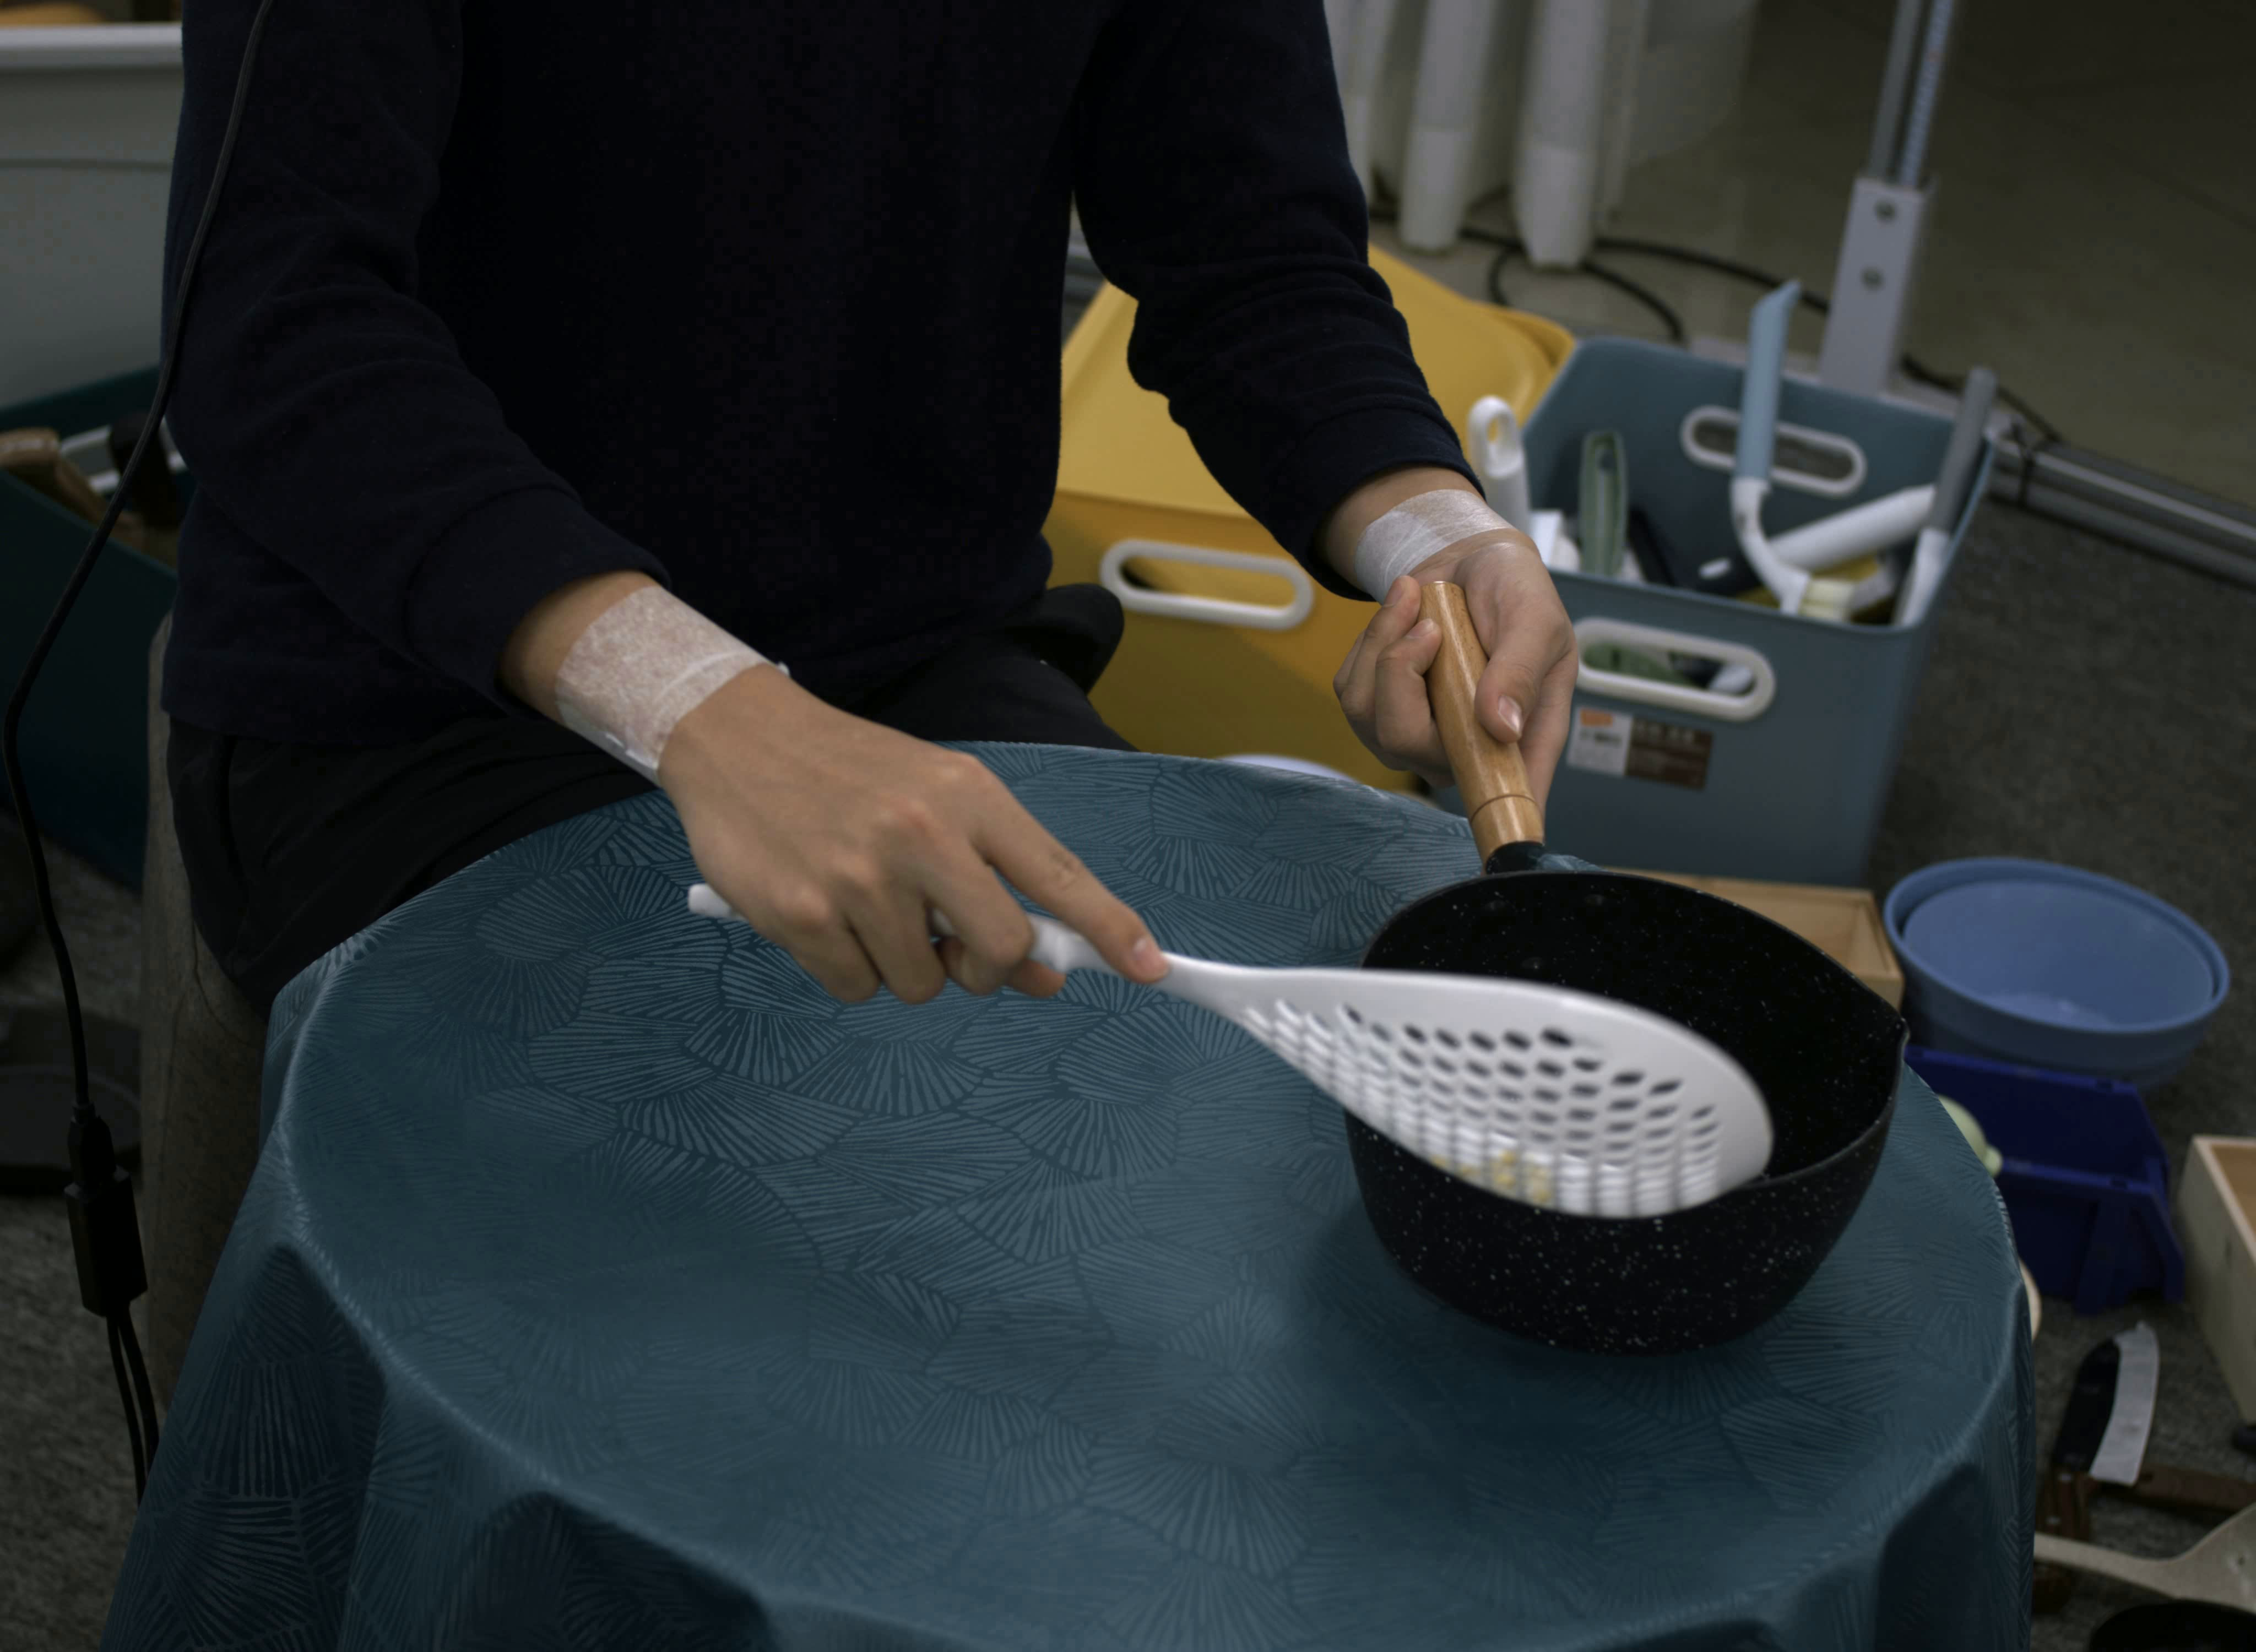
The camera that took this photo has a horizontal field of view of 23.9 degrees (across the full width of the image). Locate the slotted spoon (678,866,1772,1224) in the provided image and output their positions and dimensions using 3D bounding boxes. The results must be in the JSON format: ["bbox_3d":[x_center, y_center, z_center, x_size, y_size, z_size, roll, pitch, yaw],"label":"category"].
[{"bbox_3d":[0.028,0.058,1.645,0.348,0.136,0.050,20,70,13],"label":"slotted spoon"}]

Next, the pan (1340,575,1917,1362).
[{"bbox_3d":[0.142,0.047,1.837,0.206,0.108,0.346,-3,35,-15],"label":"pan"}]
